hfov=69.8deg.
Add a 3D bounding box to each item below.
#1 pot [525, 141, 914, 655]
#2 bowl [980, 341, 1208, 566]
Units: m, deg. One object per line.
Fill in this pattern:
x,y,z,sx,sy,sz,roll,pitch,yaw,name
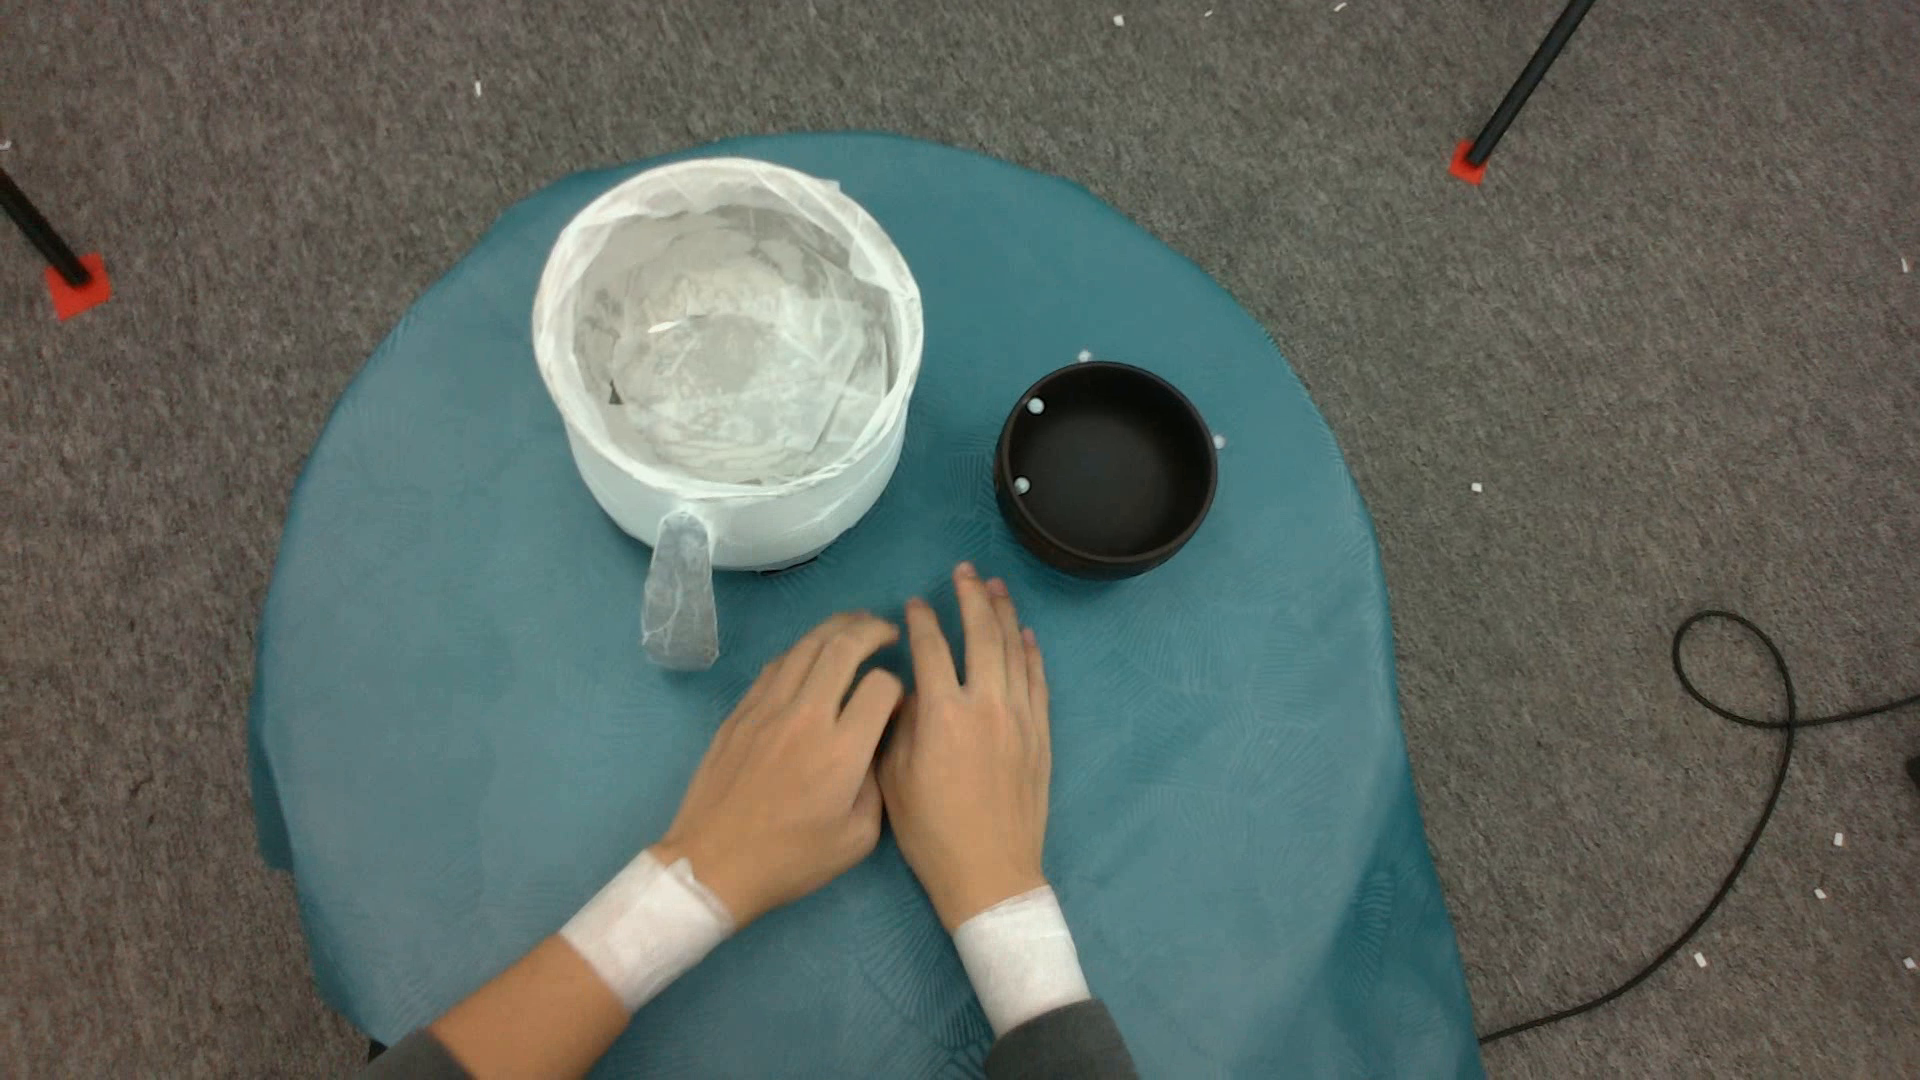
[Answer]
-0.122,-0.063,0.687,0.179,0.136,0.234,11,71,-5,pot
0.068,-0.041,0.742,0.118,0.069,0.118,2,74,-8,bowl
